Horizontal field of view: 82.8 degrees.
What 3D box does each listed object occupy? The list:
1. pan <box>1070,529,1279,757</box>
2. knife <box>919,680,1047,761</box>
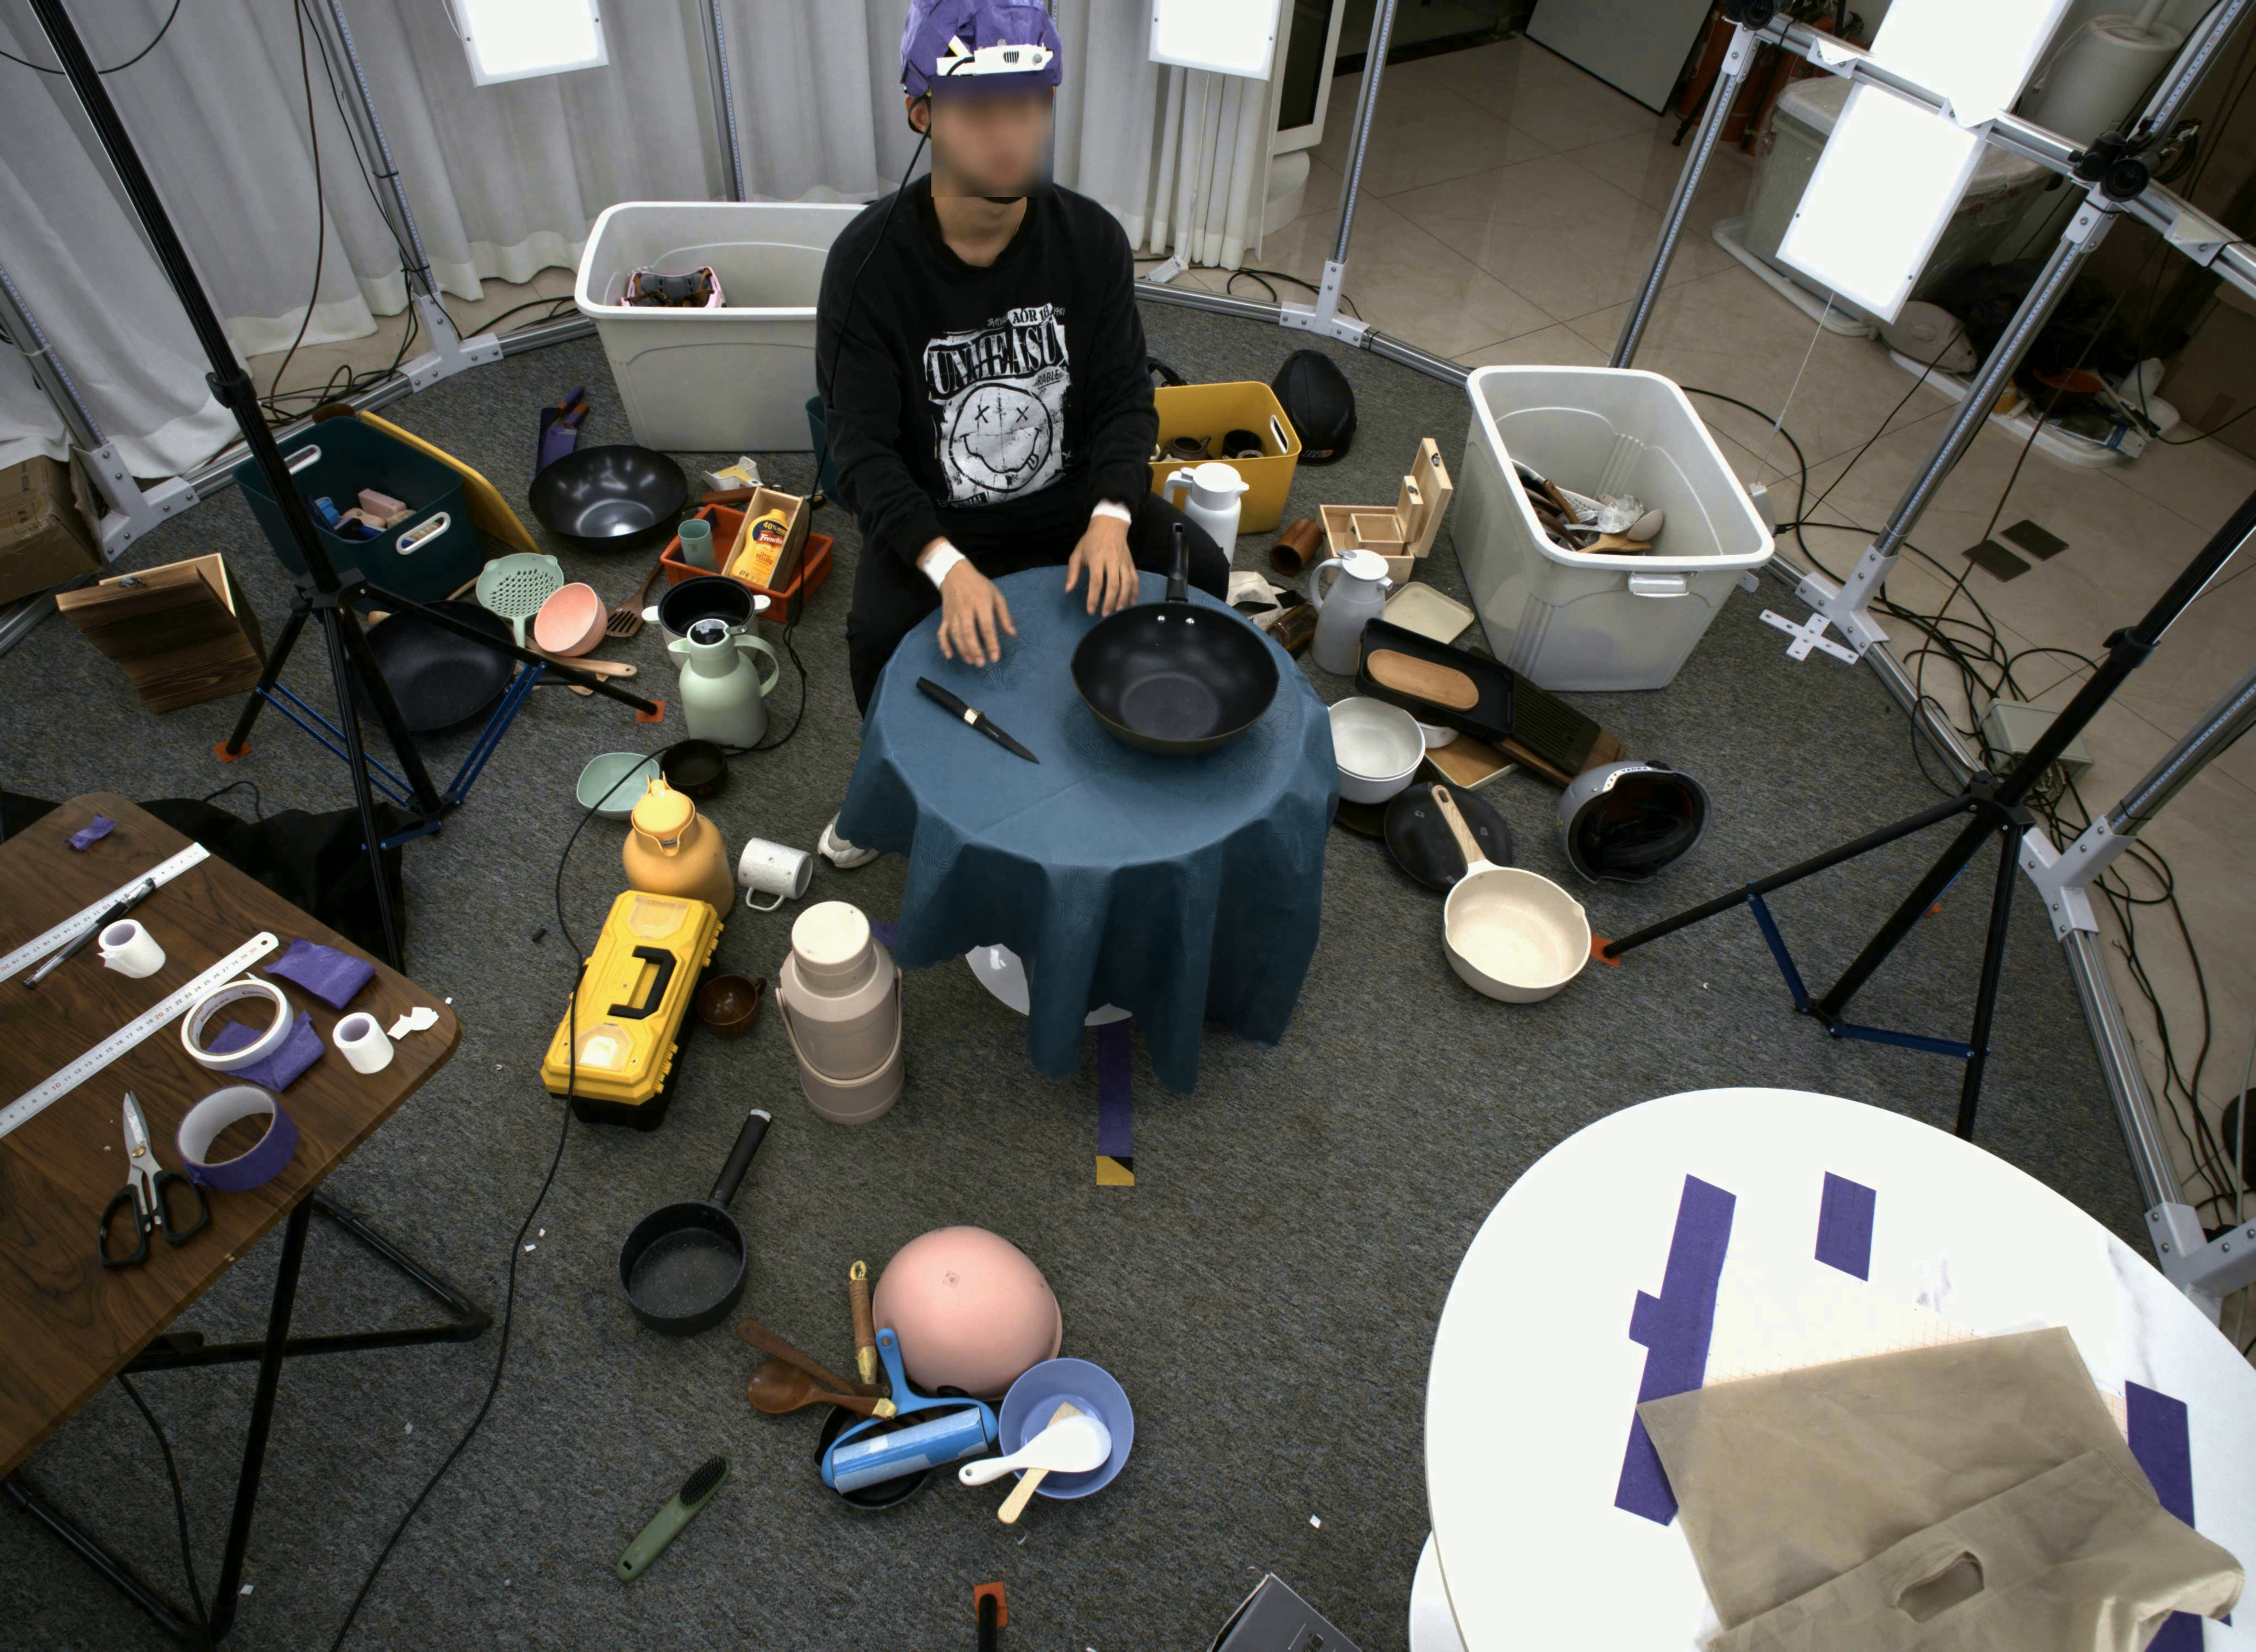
[{"bbox_3d":[0.066,-0.258,1.846,0.288,0.085,0.475,4,48,0],"label":"pan"},{"bbox_3d":[-0.202,-0.144,1.776,0.228,0.017,0.026,33,44,22],"label":"knife"}]
